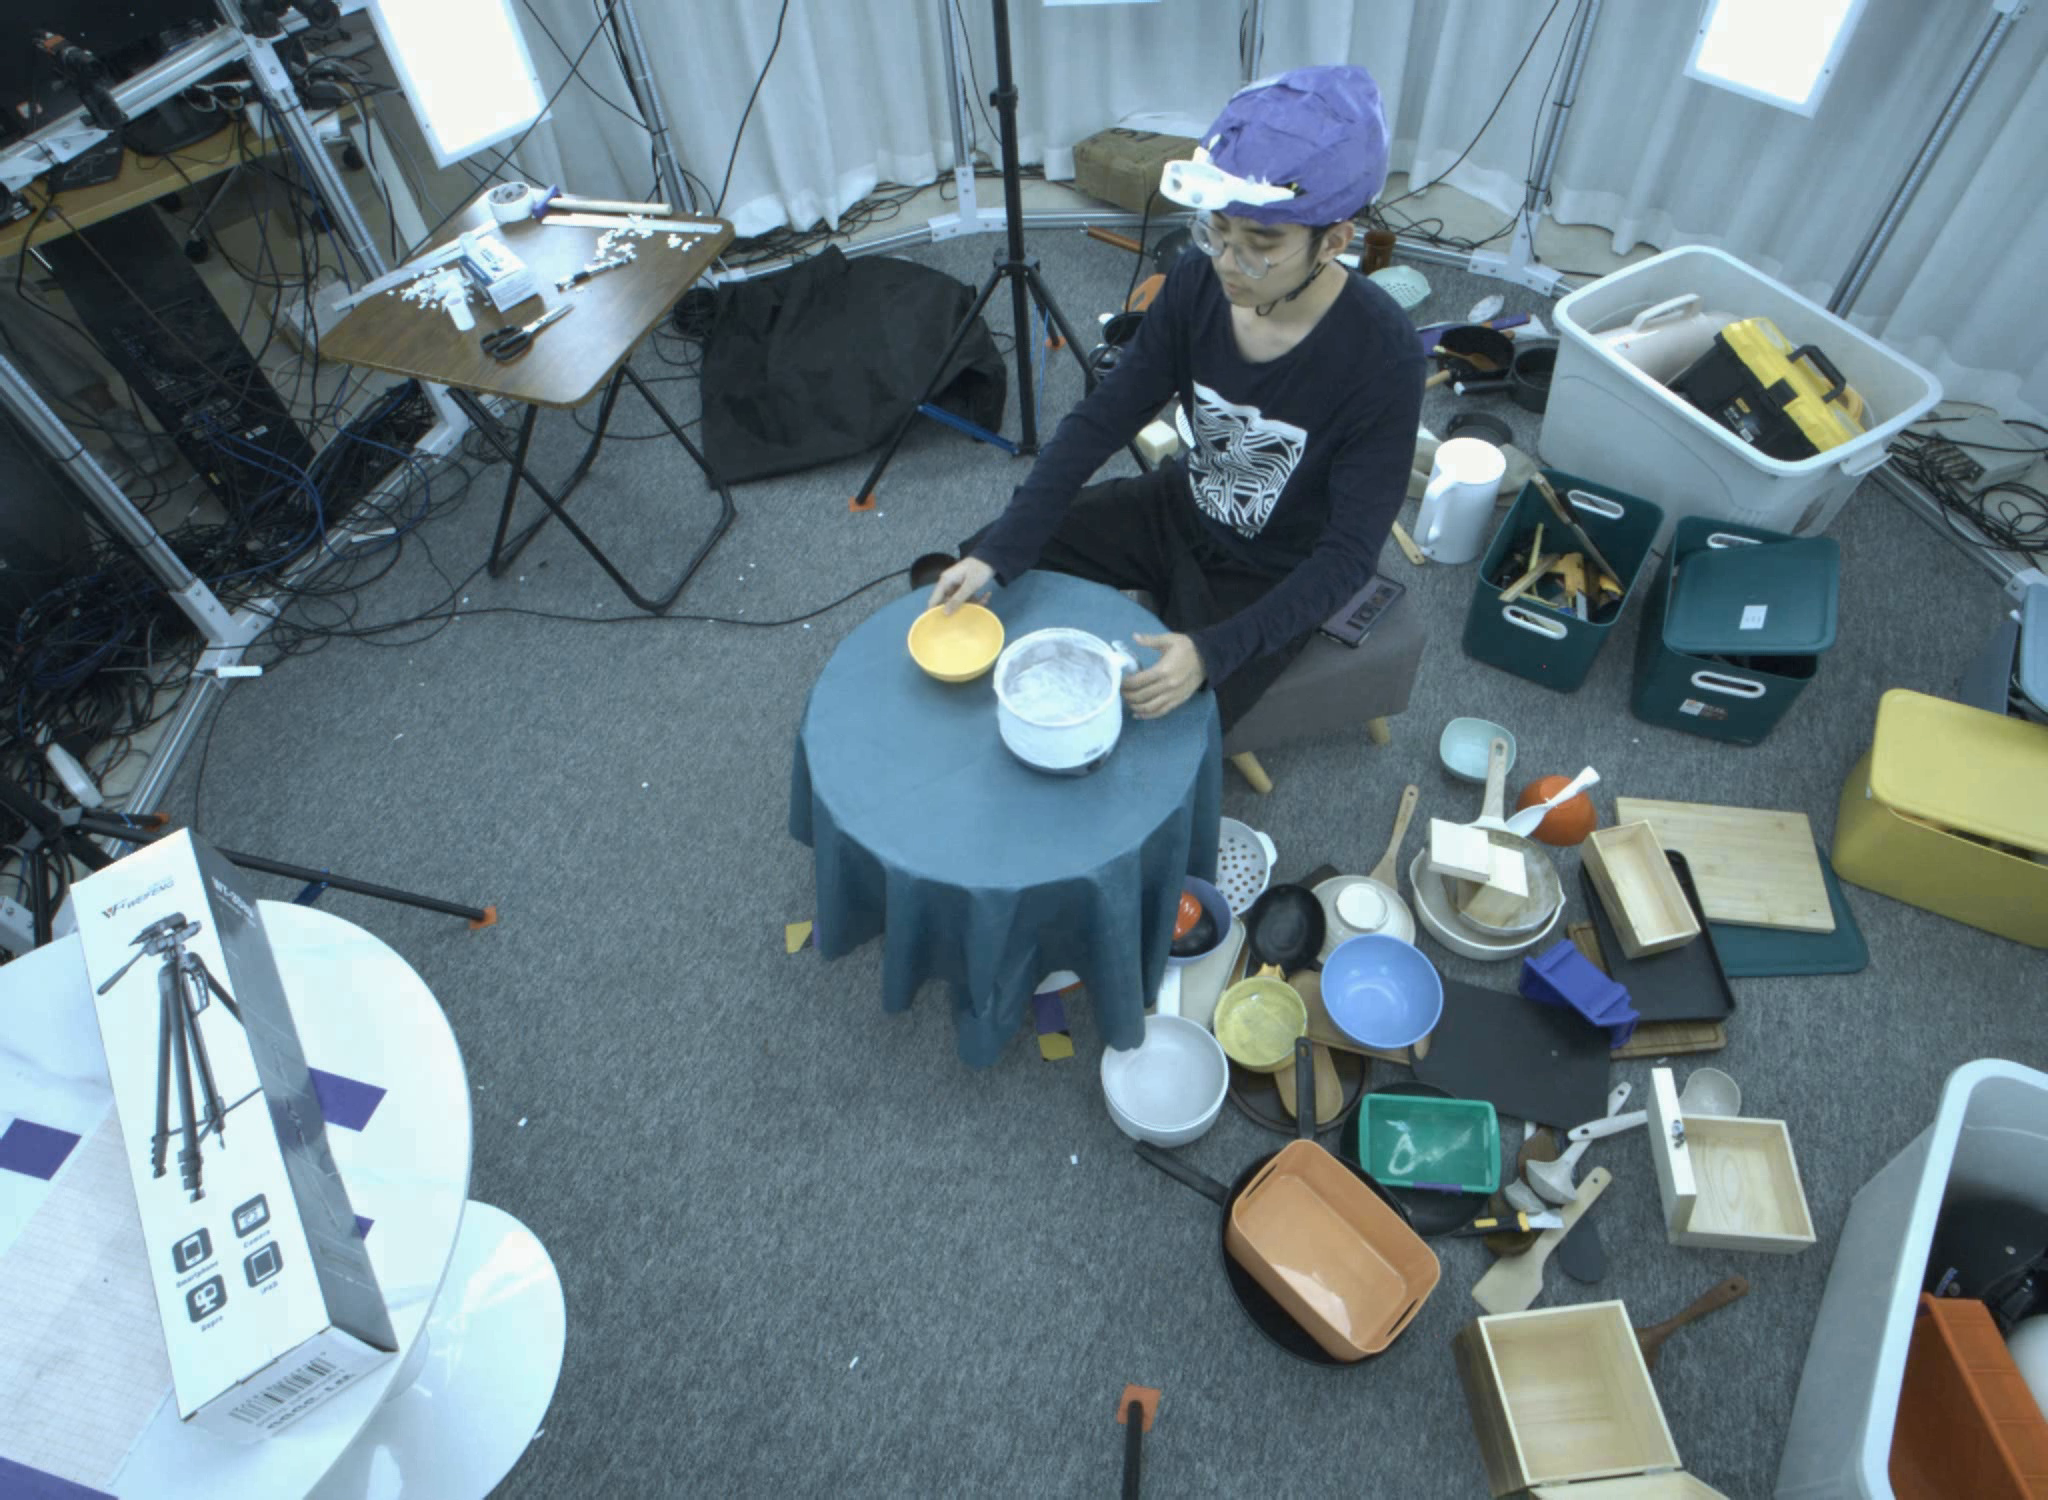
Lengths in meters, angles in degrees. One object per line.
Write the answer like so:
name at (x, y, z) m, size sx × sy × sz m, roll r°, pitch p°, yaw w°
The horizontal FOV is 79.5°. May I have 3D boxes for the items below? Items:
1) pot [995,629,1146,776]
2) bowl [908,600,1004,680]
pot at (0.073, -0.078, 1.767) m, size 0.236 × 0.138 × 0.175 m, roll -28°, pitch 58°, yaw -19°
bowl at (-0.102, -0.156, 1.870) m, size 0.145 × 0.061 × 0.144 m, roll 0°, pitch 56°, yaw 2°
